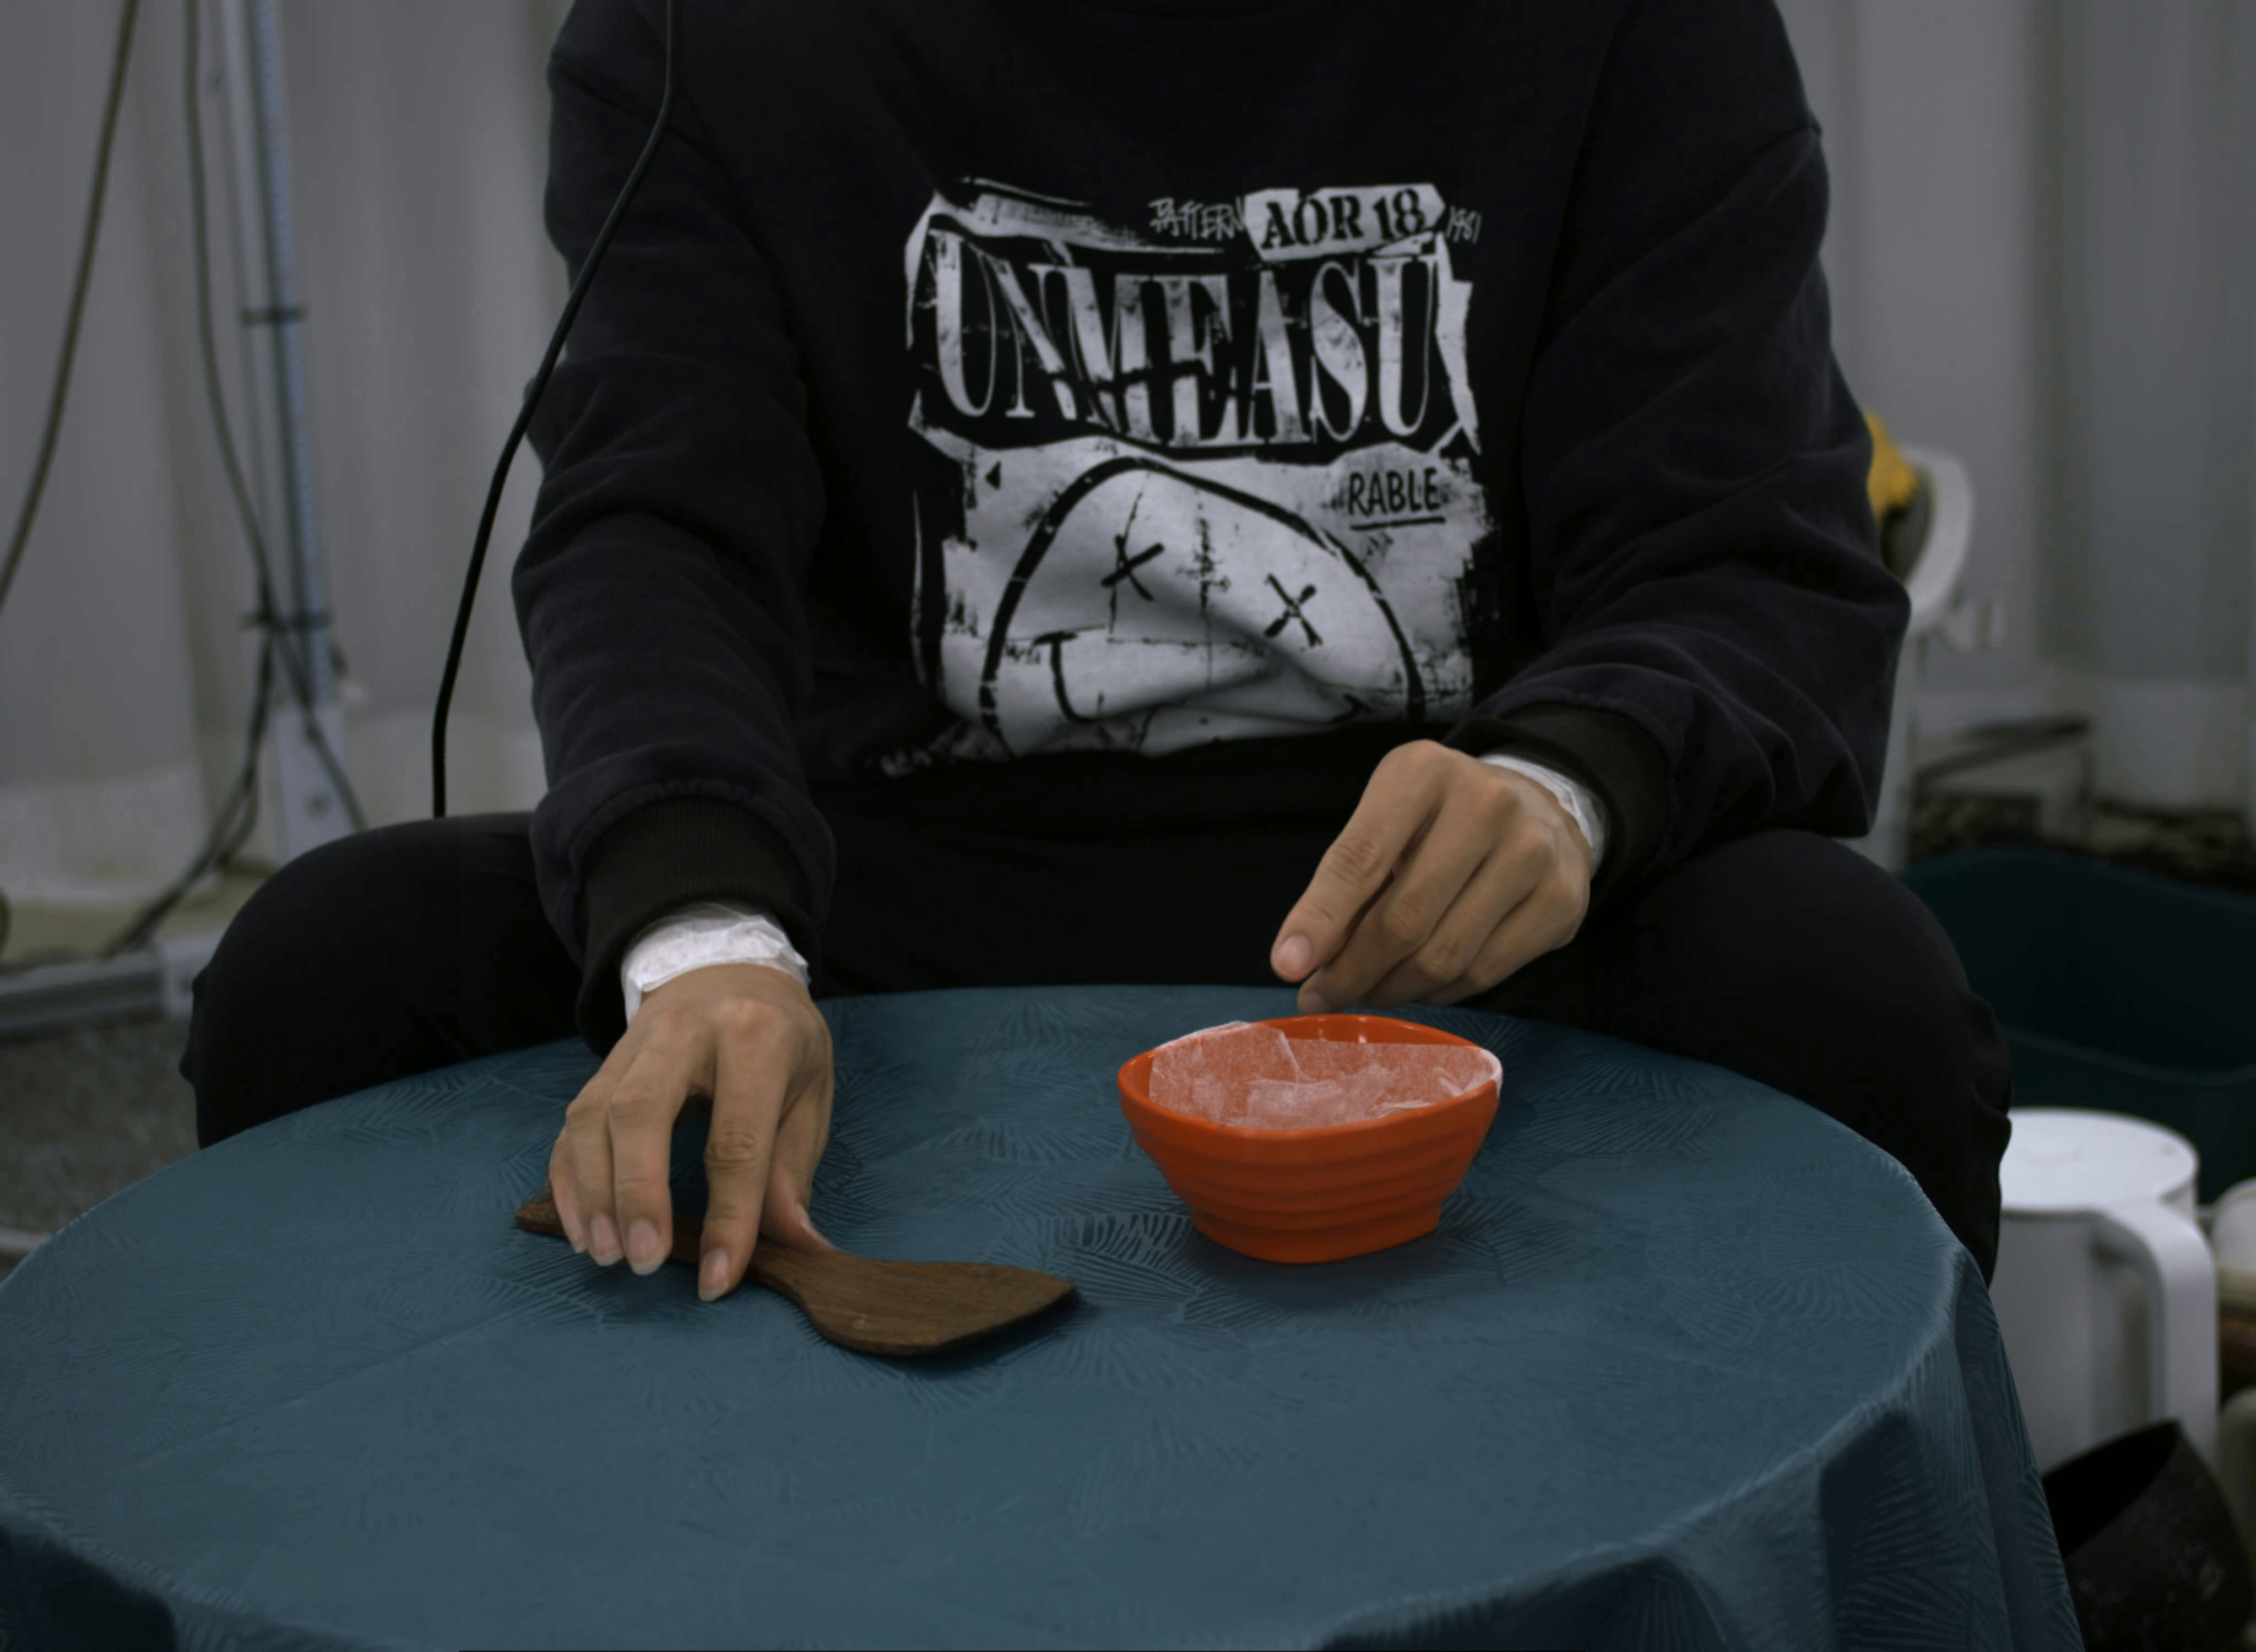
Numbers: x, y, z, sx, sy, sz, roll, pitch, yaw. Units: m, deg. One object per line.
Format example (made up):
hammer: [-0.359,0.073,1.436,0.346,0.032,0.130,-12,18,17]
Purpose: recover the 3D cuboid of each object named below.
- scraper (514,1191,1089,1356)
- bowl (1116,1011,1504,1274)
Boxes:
scraper: [-0.107,0.133,1.653,0.212,0.011,0.076,10,18,41]
bowl: [0.056,0.099,1.669,0.118,0.051,0.120,-4,17,1]
